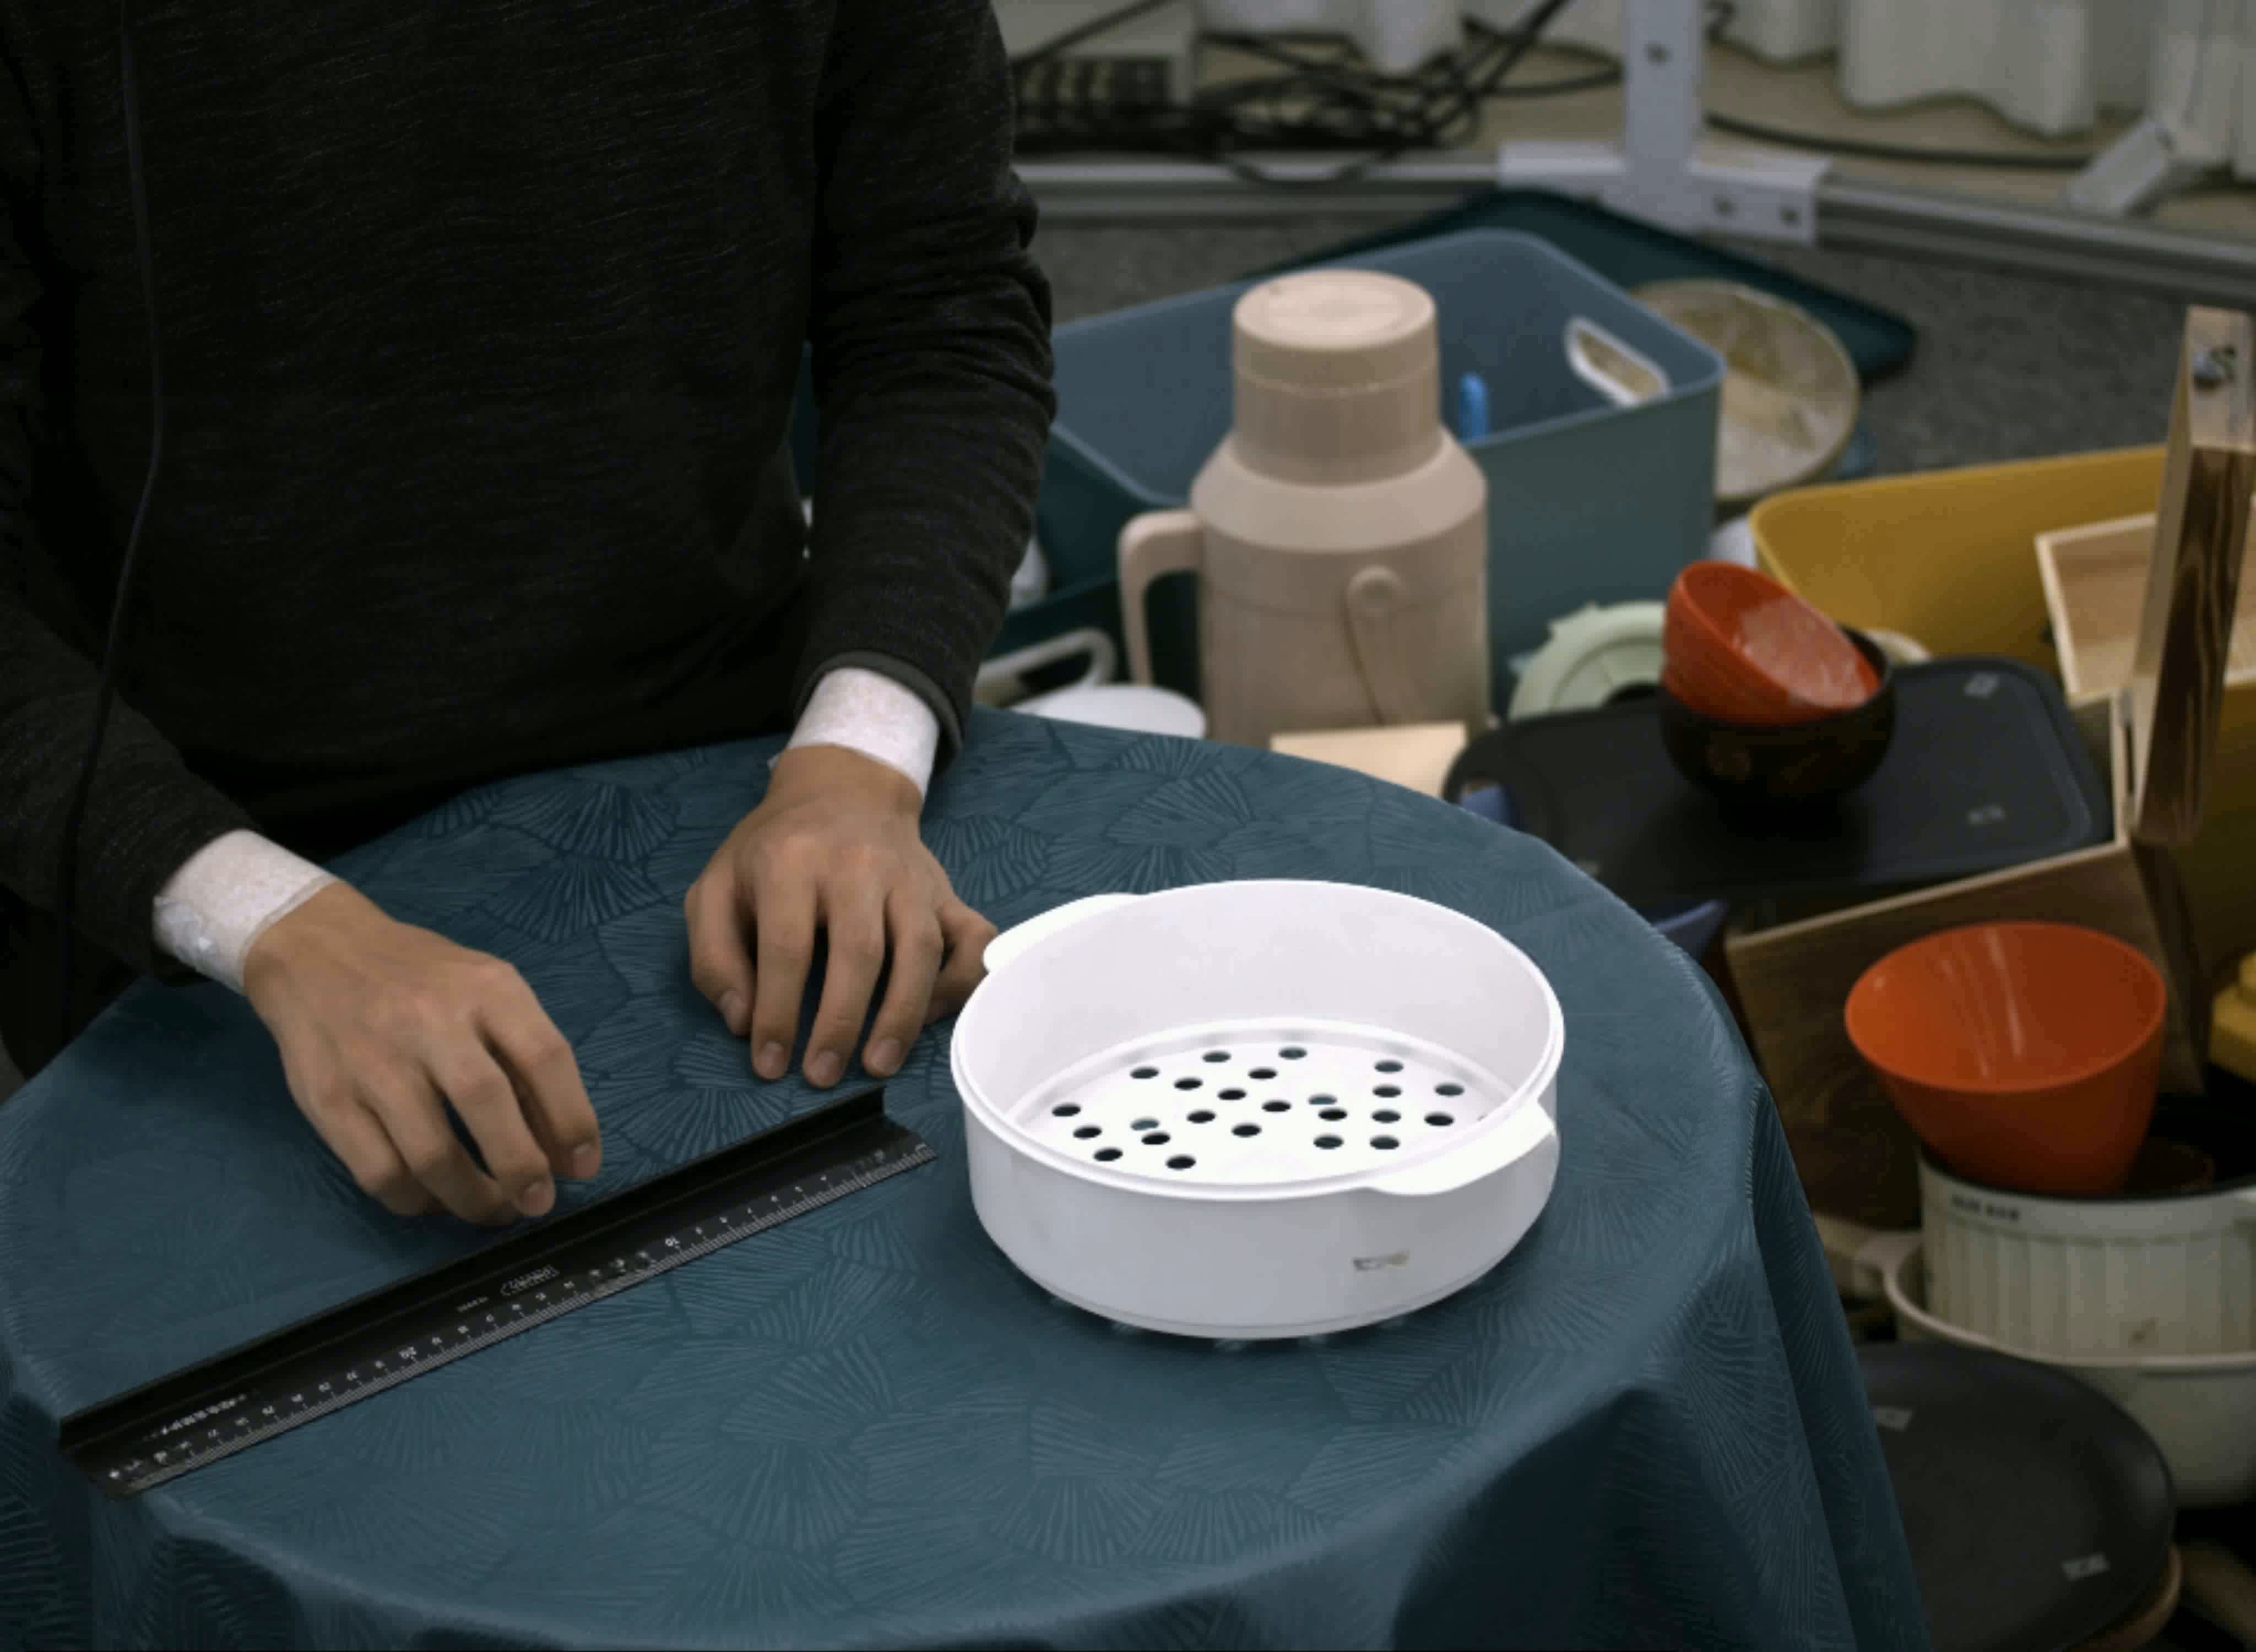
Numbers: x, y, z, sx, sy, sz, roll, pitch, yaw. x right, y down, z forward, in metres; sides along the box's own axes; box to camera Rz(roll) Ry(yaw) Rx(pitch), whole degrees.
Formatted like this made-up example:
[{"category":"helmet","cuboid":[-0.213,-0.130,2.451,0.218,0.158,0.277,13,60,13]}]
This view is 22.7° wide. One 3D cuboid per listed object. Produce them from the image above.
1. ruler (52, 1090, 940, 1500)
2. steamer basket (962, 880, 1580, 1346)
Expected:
[{"category":"ruler","cuboid":[-0.198,0.148,1.813,0.315,0.017,0.039,-21,36,-31]},{"category":"steamer basket","cuboid":[0.047,0.094,1.836,0.204,0.068,0.231,-23,35,-34]}]
